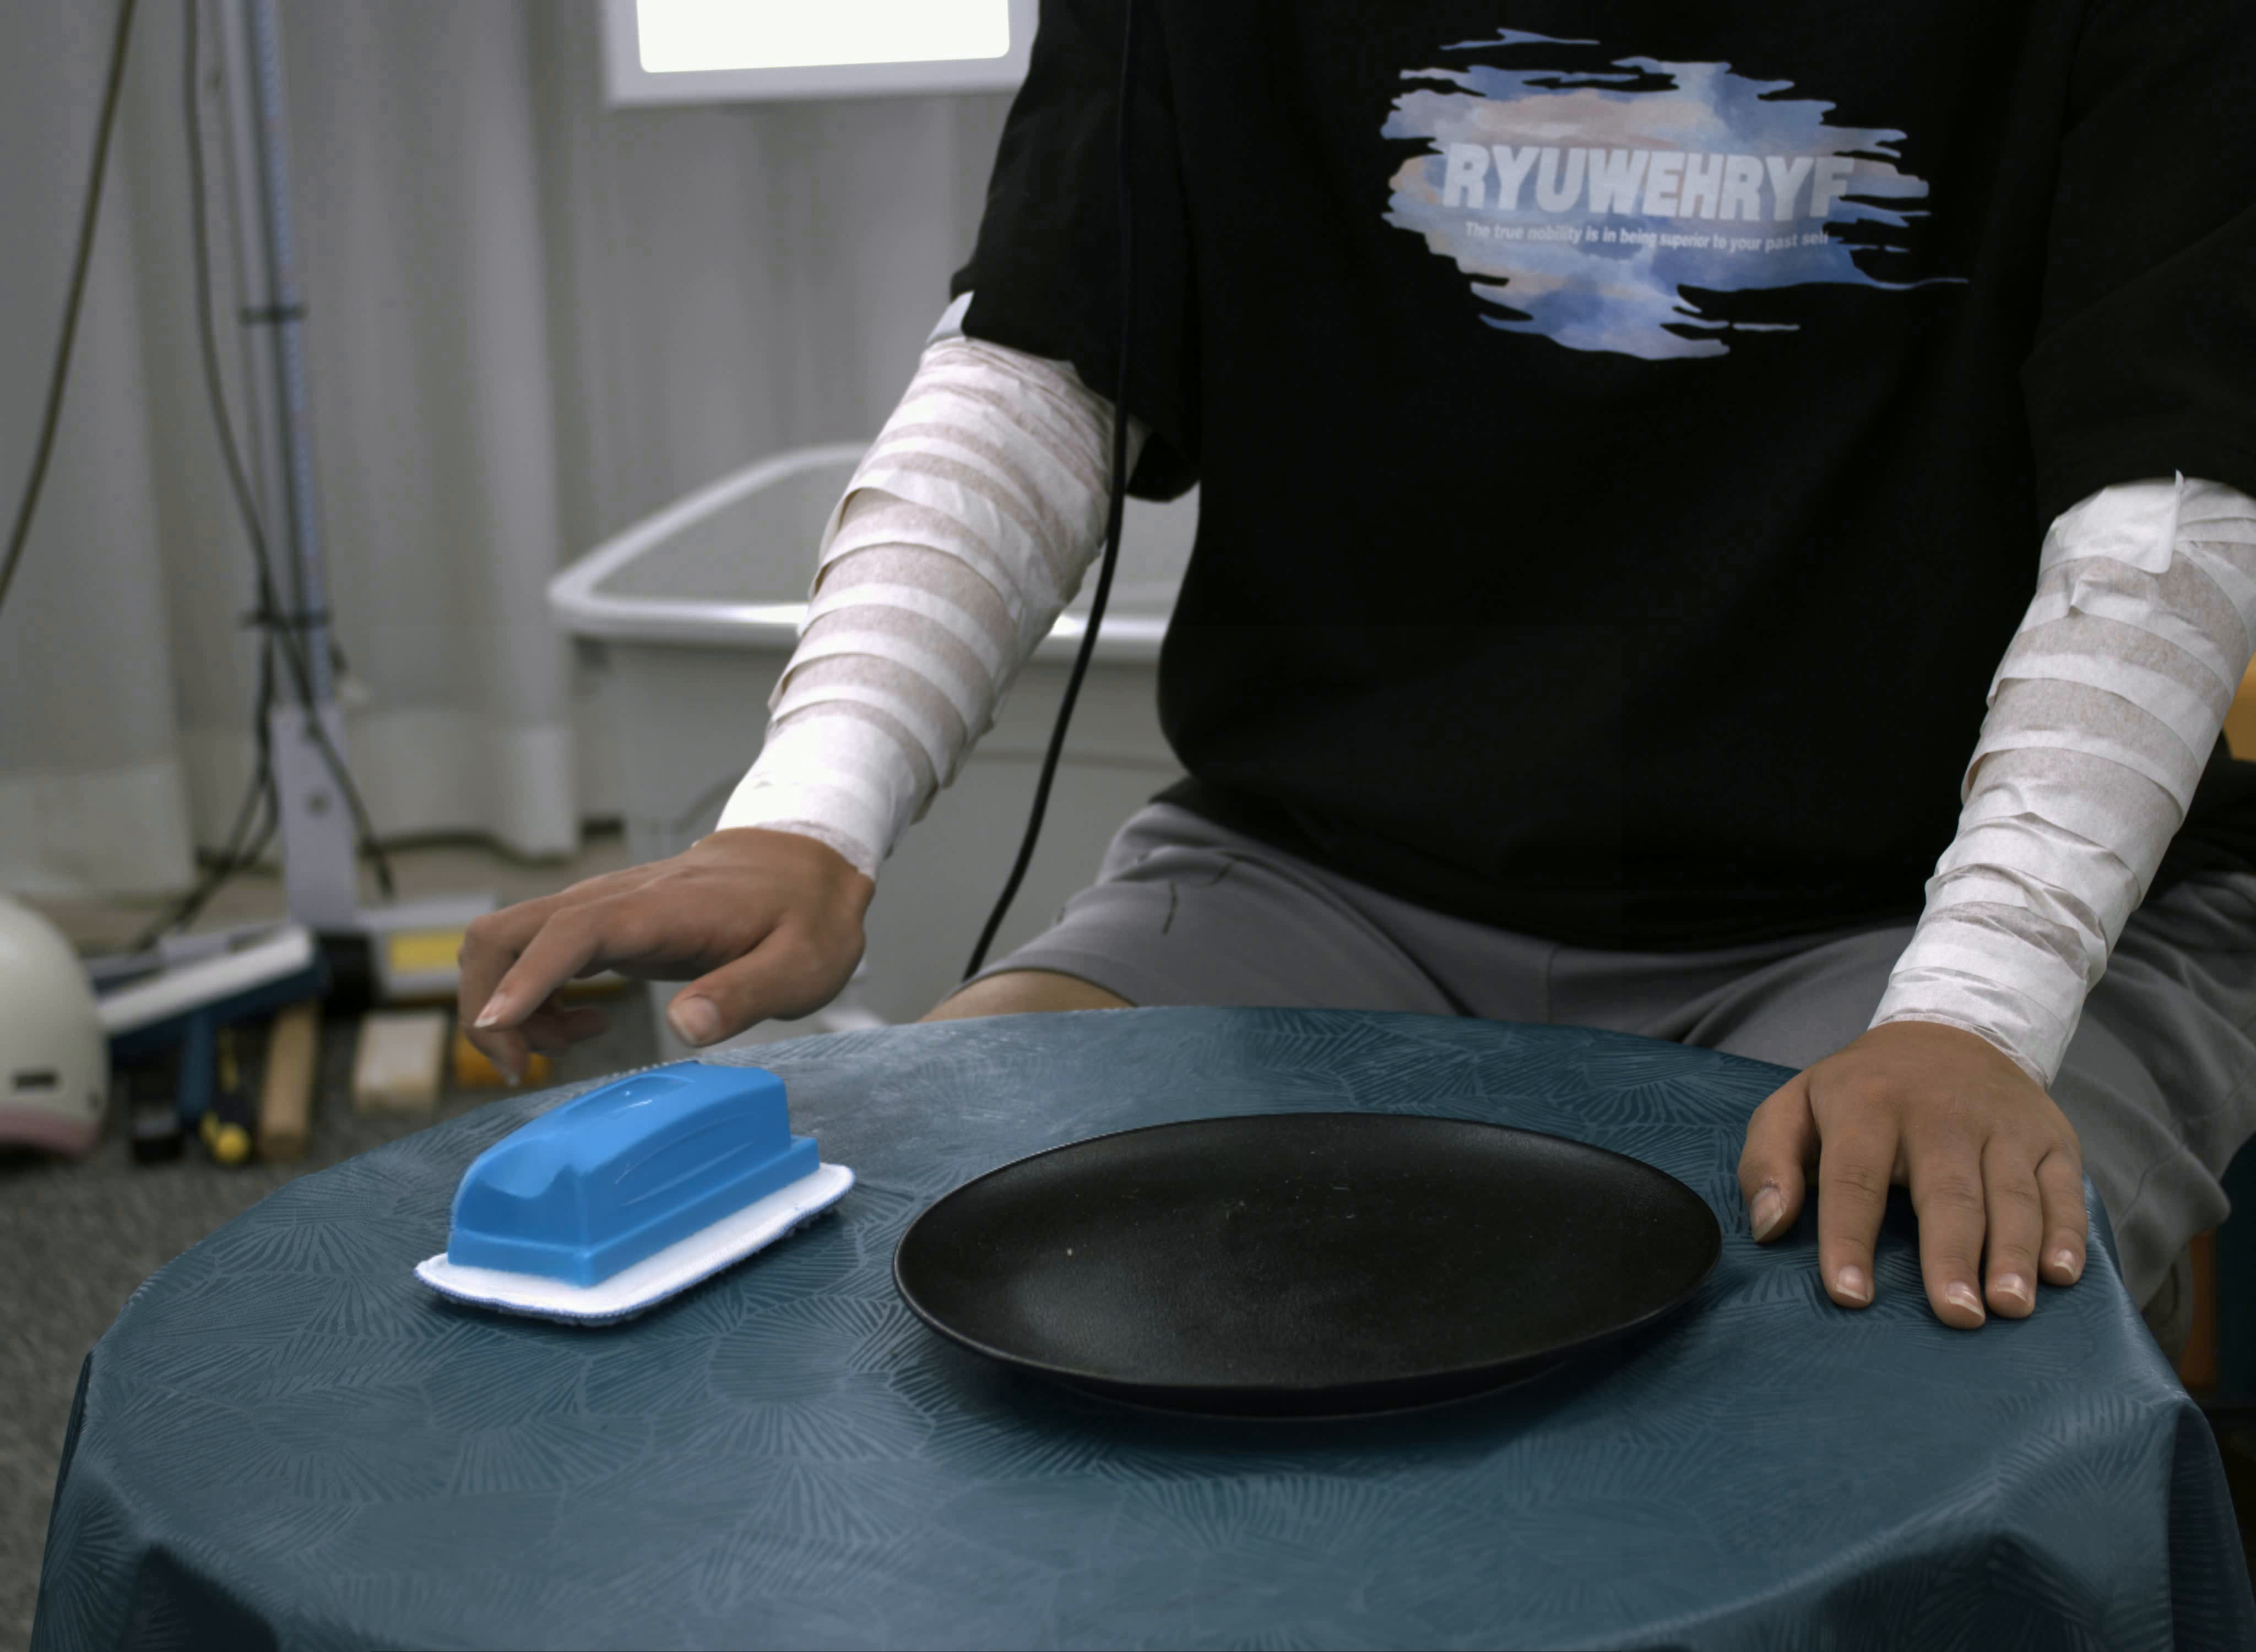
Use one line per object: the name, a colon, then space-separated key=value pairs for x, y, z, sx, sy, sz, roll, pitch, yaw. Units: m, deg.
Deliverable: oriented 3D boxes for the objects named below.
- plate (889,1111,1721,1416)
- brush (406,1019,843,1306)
plate: x=0.052 y=0.130 z=1.597 sx=0.243 sy=0.023 sz=0.246 roll=-3 pitch=15 yaw=0
brush: x=-0.153 y=0.099 z=1.678 sx=0.084 sy=0.055 sz=0.144 roll=10 pitch=22 yaw=28
